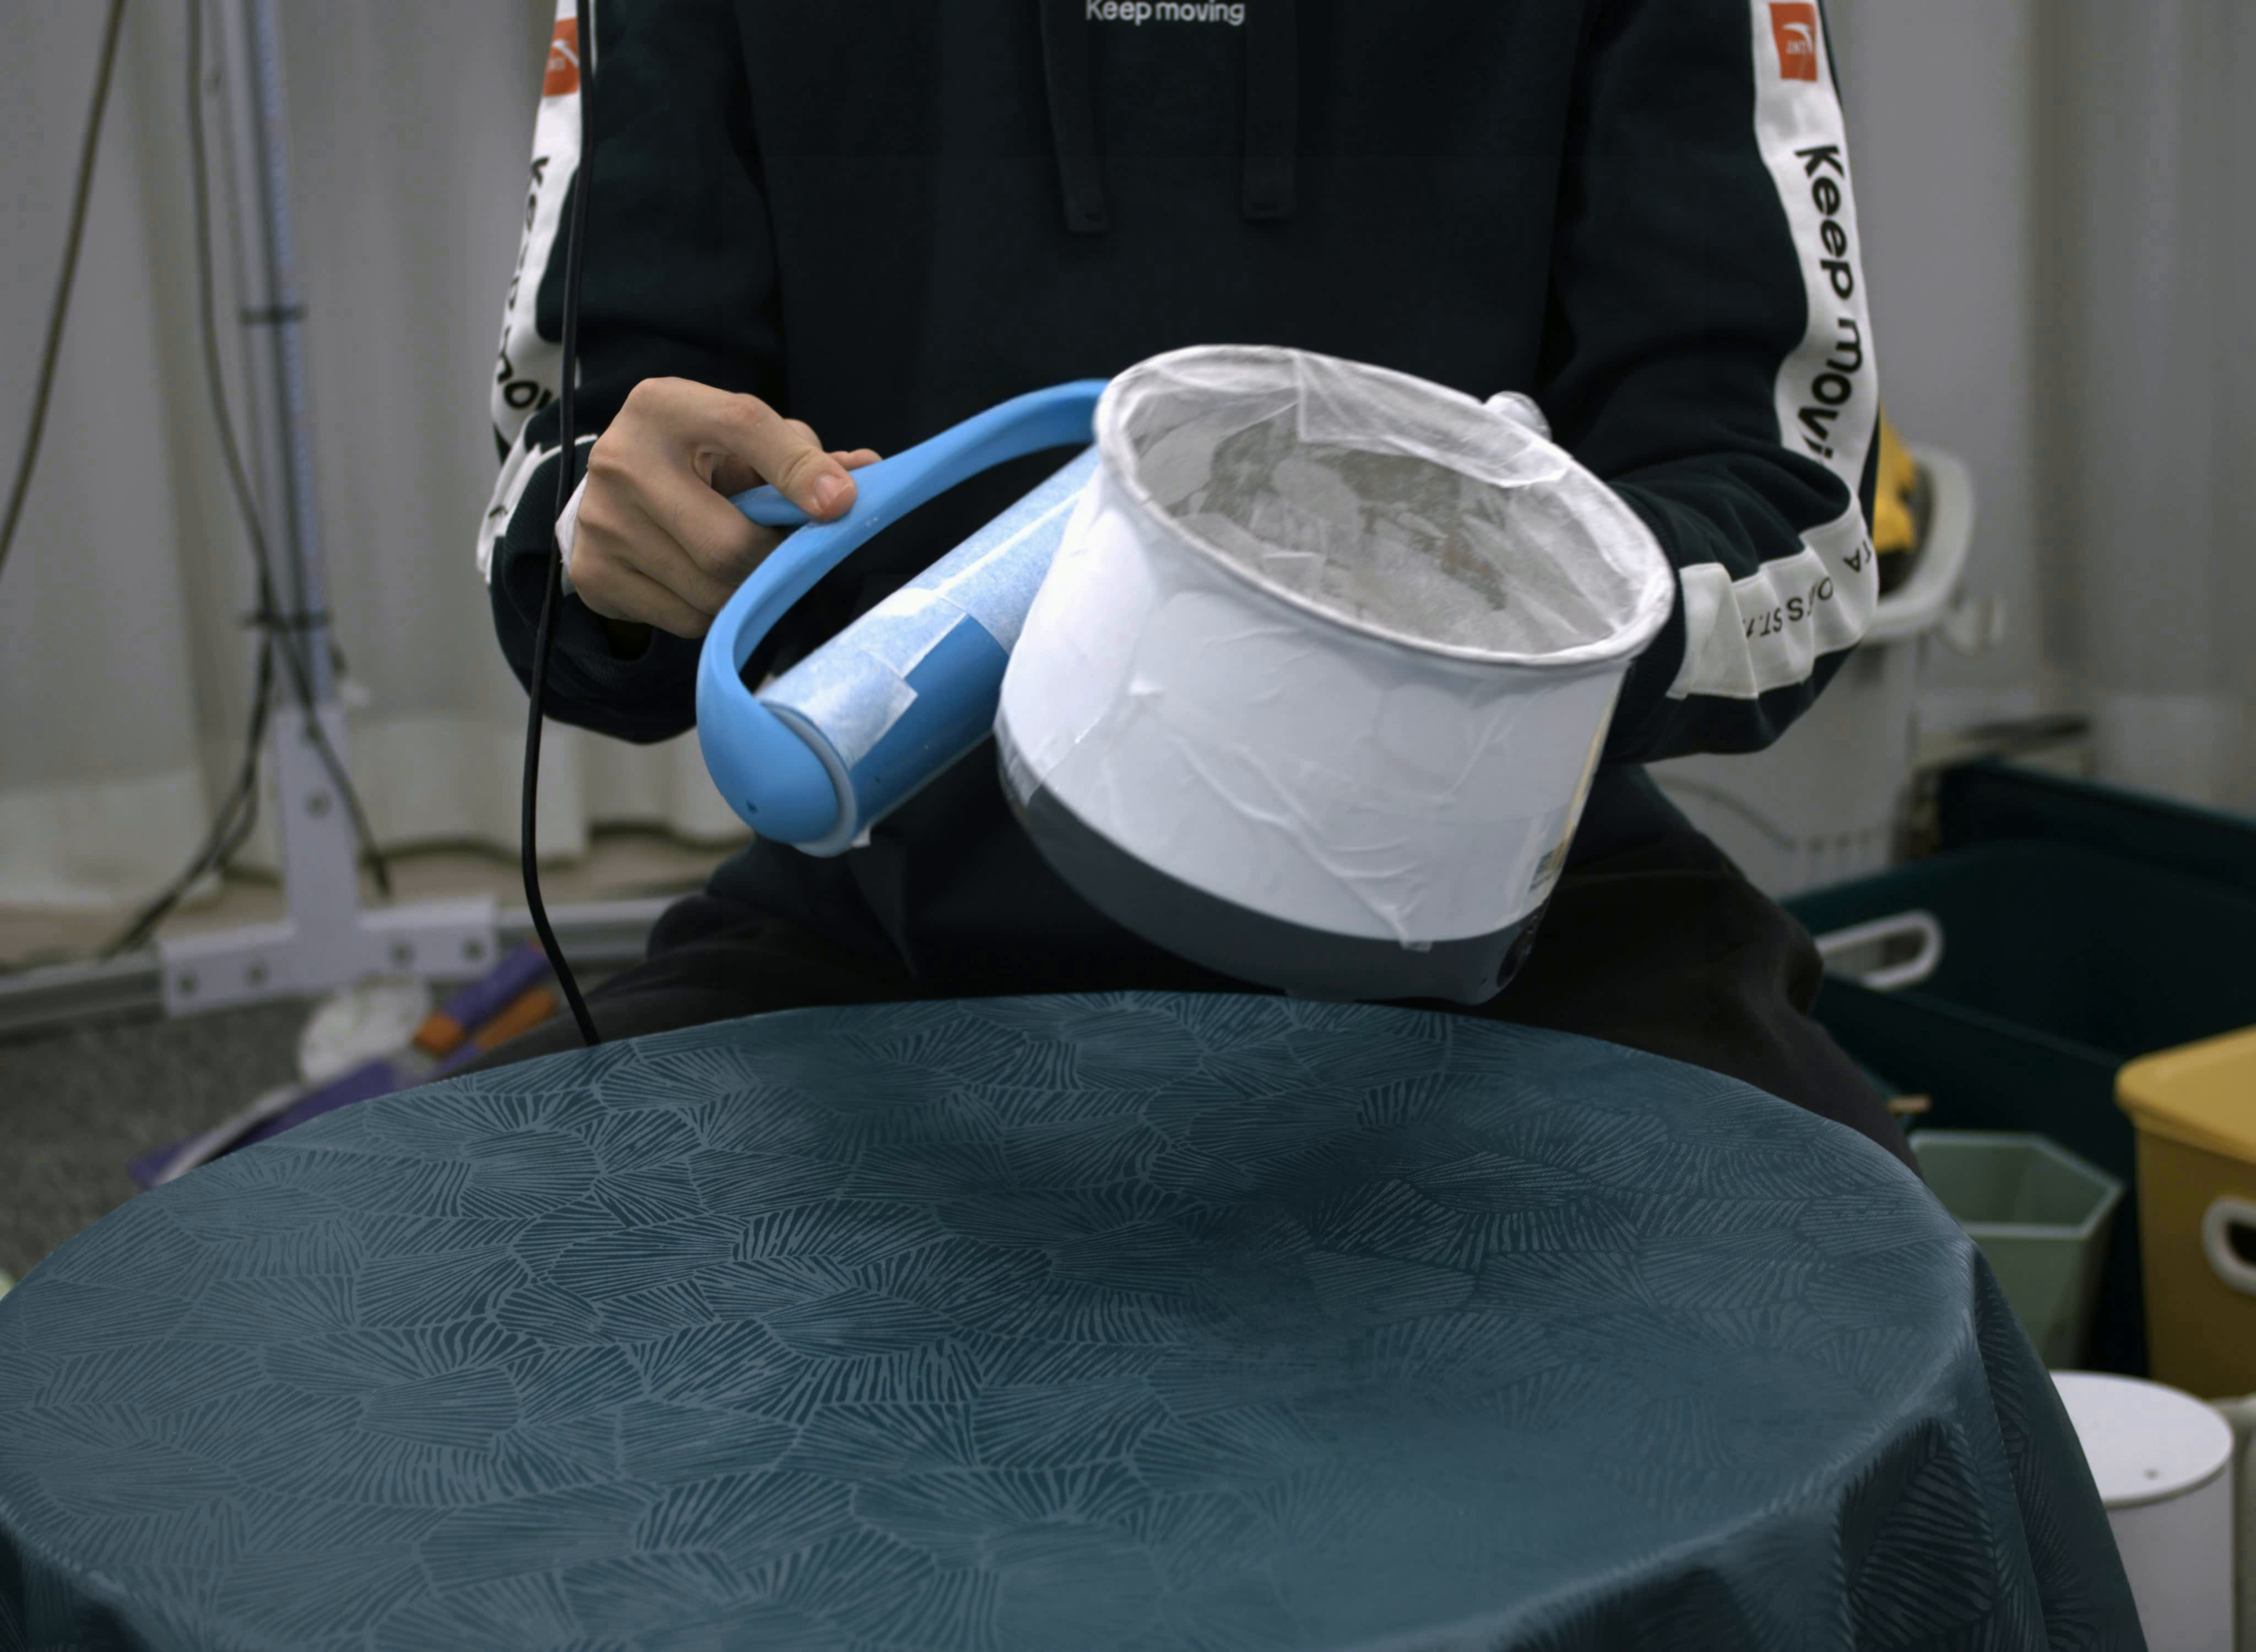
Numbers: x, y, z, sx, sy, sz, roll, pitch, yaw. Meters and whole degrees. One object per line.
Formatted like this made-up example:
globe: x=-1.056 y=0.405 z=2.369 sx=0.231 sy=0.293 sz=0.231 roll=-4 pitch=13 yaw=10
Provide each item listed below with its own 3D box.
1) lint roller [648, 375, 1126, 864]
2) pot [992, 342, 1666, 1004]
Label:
lint roller: x=-0.087 y=-0.076 z=1.735 sx=0.181 sy=0.067 sz=0.230 roll=15 pitch=43 yaw=32
pot: x=0.067 y=-0.053 z=1.644 sx=0.179 sy=0.135 sz=0.235 roll=27 pitch=30 yaw=15
